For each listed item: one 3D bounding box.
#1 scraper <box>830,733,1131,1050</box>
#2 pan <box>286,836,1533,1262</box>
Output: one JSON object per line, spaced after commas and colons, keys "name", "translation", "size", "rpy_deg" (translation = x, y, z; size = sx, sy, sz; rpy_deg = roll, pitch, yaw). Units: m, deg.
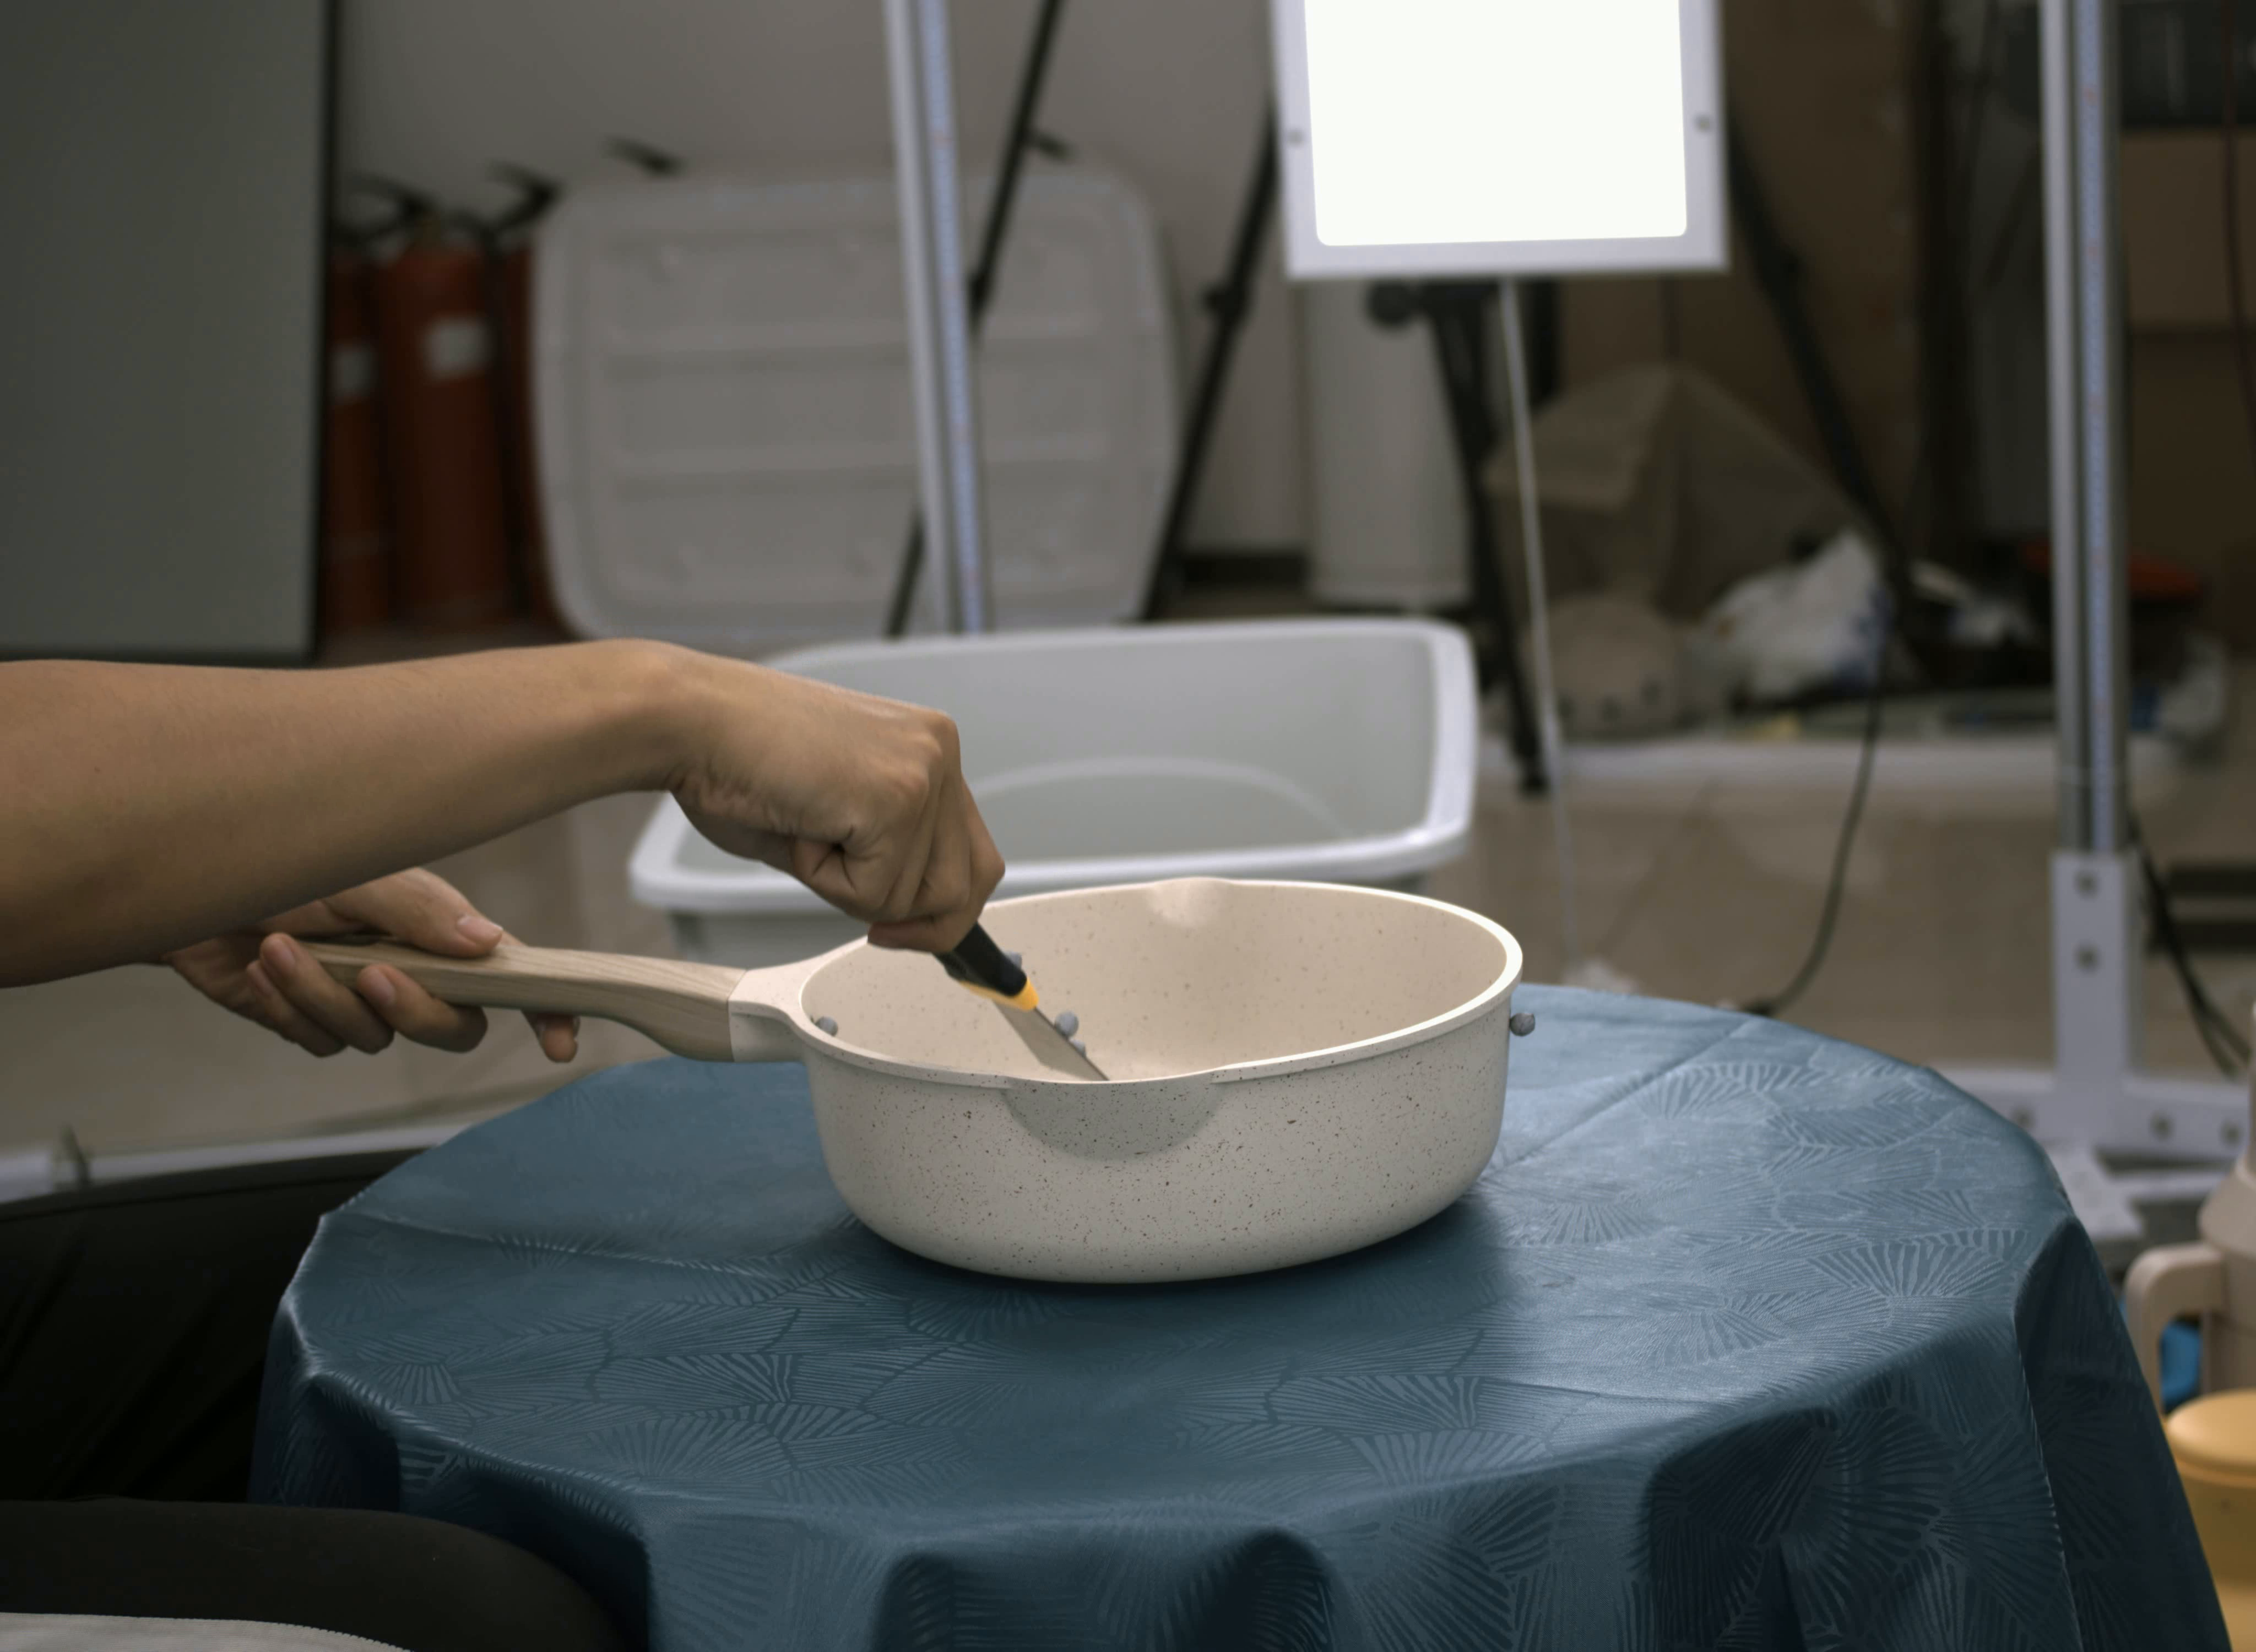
{"name": "scraper", "translation": [-0.048, 0.023, 1.783], "size": [0.039, 0.169, 0.015], "rpy_deg": [23, 70, 43]}
{"name": "pan", "translation": [-0.074, 0.076, 1.910], "size": [0.437, 0.102, 0.261], "rpy_deg": [-3, 16, 9]}
